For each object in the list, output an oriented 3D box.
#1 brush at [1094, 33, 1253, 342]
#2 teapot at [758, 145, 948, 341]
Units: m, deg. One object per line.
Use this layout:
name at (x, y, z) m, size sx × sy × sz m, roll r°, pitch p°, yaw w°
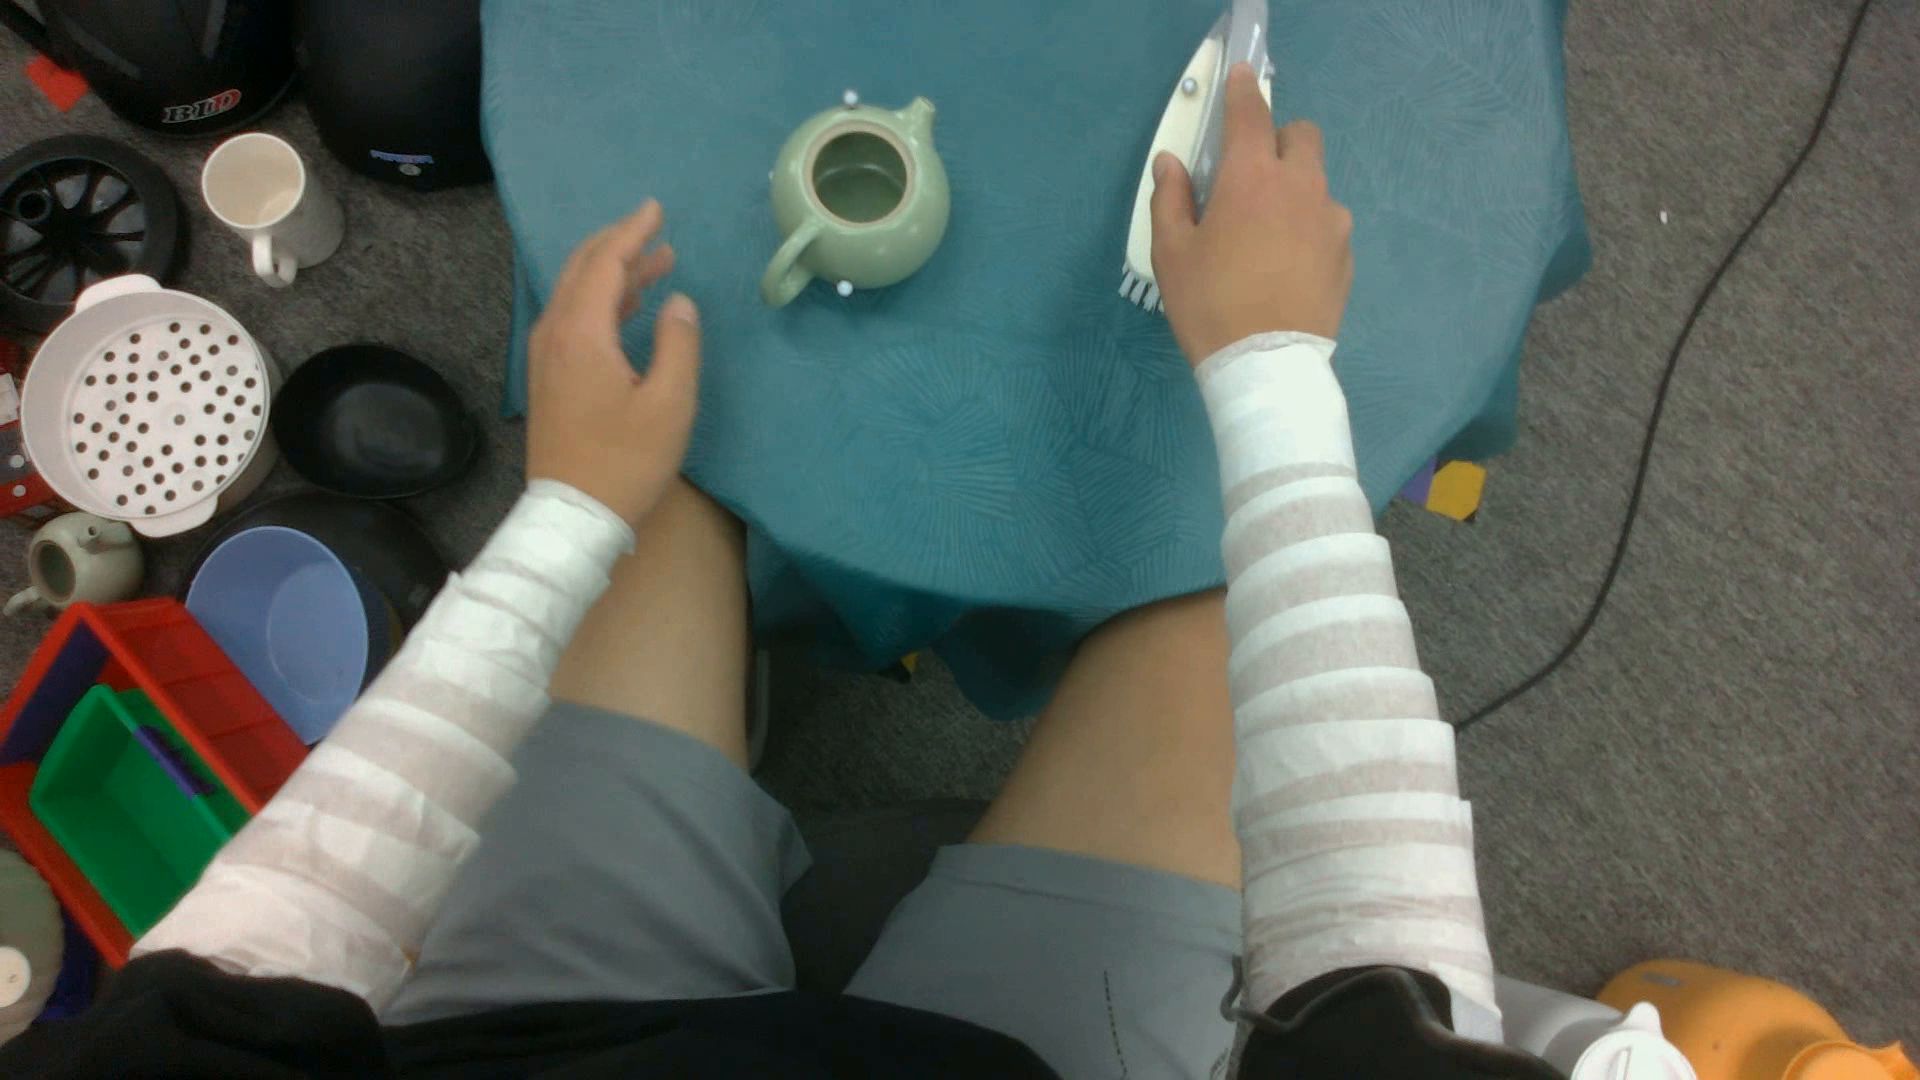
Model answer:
brush at (0.125, -0.202, 0.730) m, size 0.061 × 0.094 × 0.176 m, roll 19°, pitch 76°, yaw -2°
teapot at (-0.059, -0.152, 0.722) m, size 0.091 × 0.061 × 0.129 m, roll 44°, pitch 79°, yaw 3°
